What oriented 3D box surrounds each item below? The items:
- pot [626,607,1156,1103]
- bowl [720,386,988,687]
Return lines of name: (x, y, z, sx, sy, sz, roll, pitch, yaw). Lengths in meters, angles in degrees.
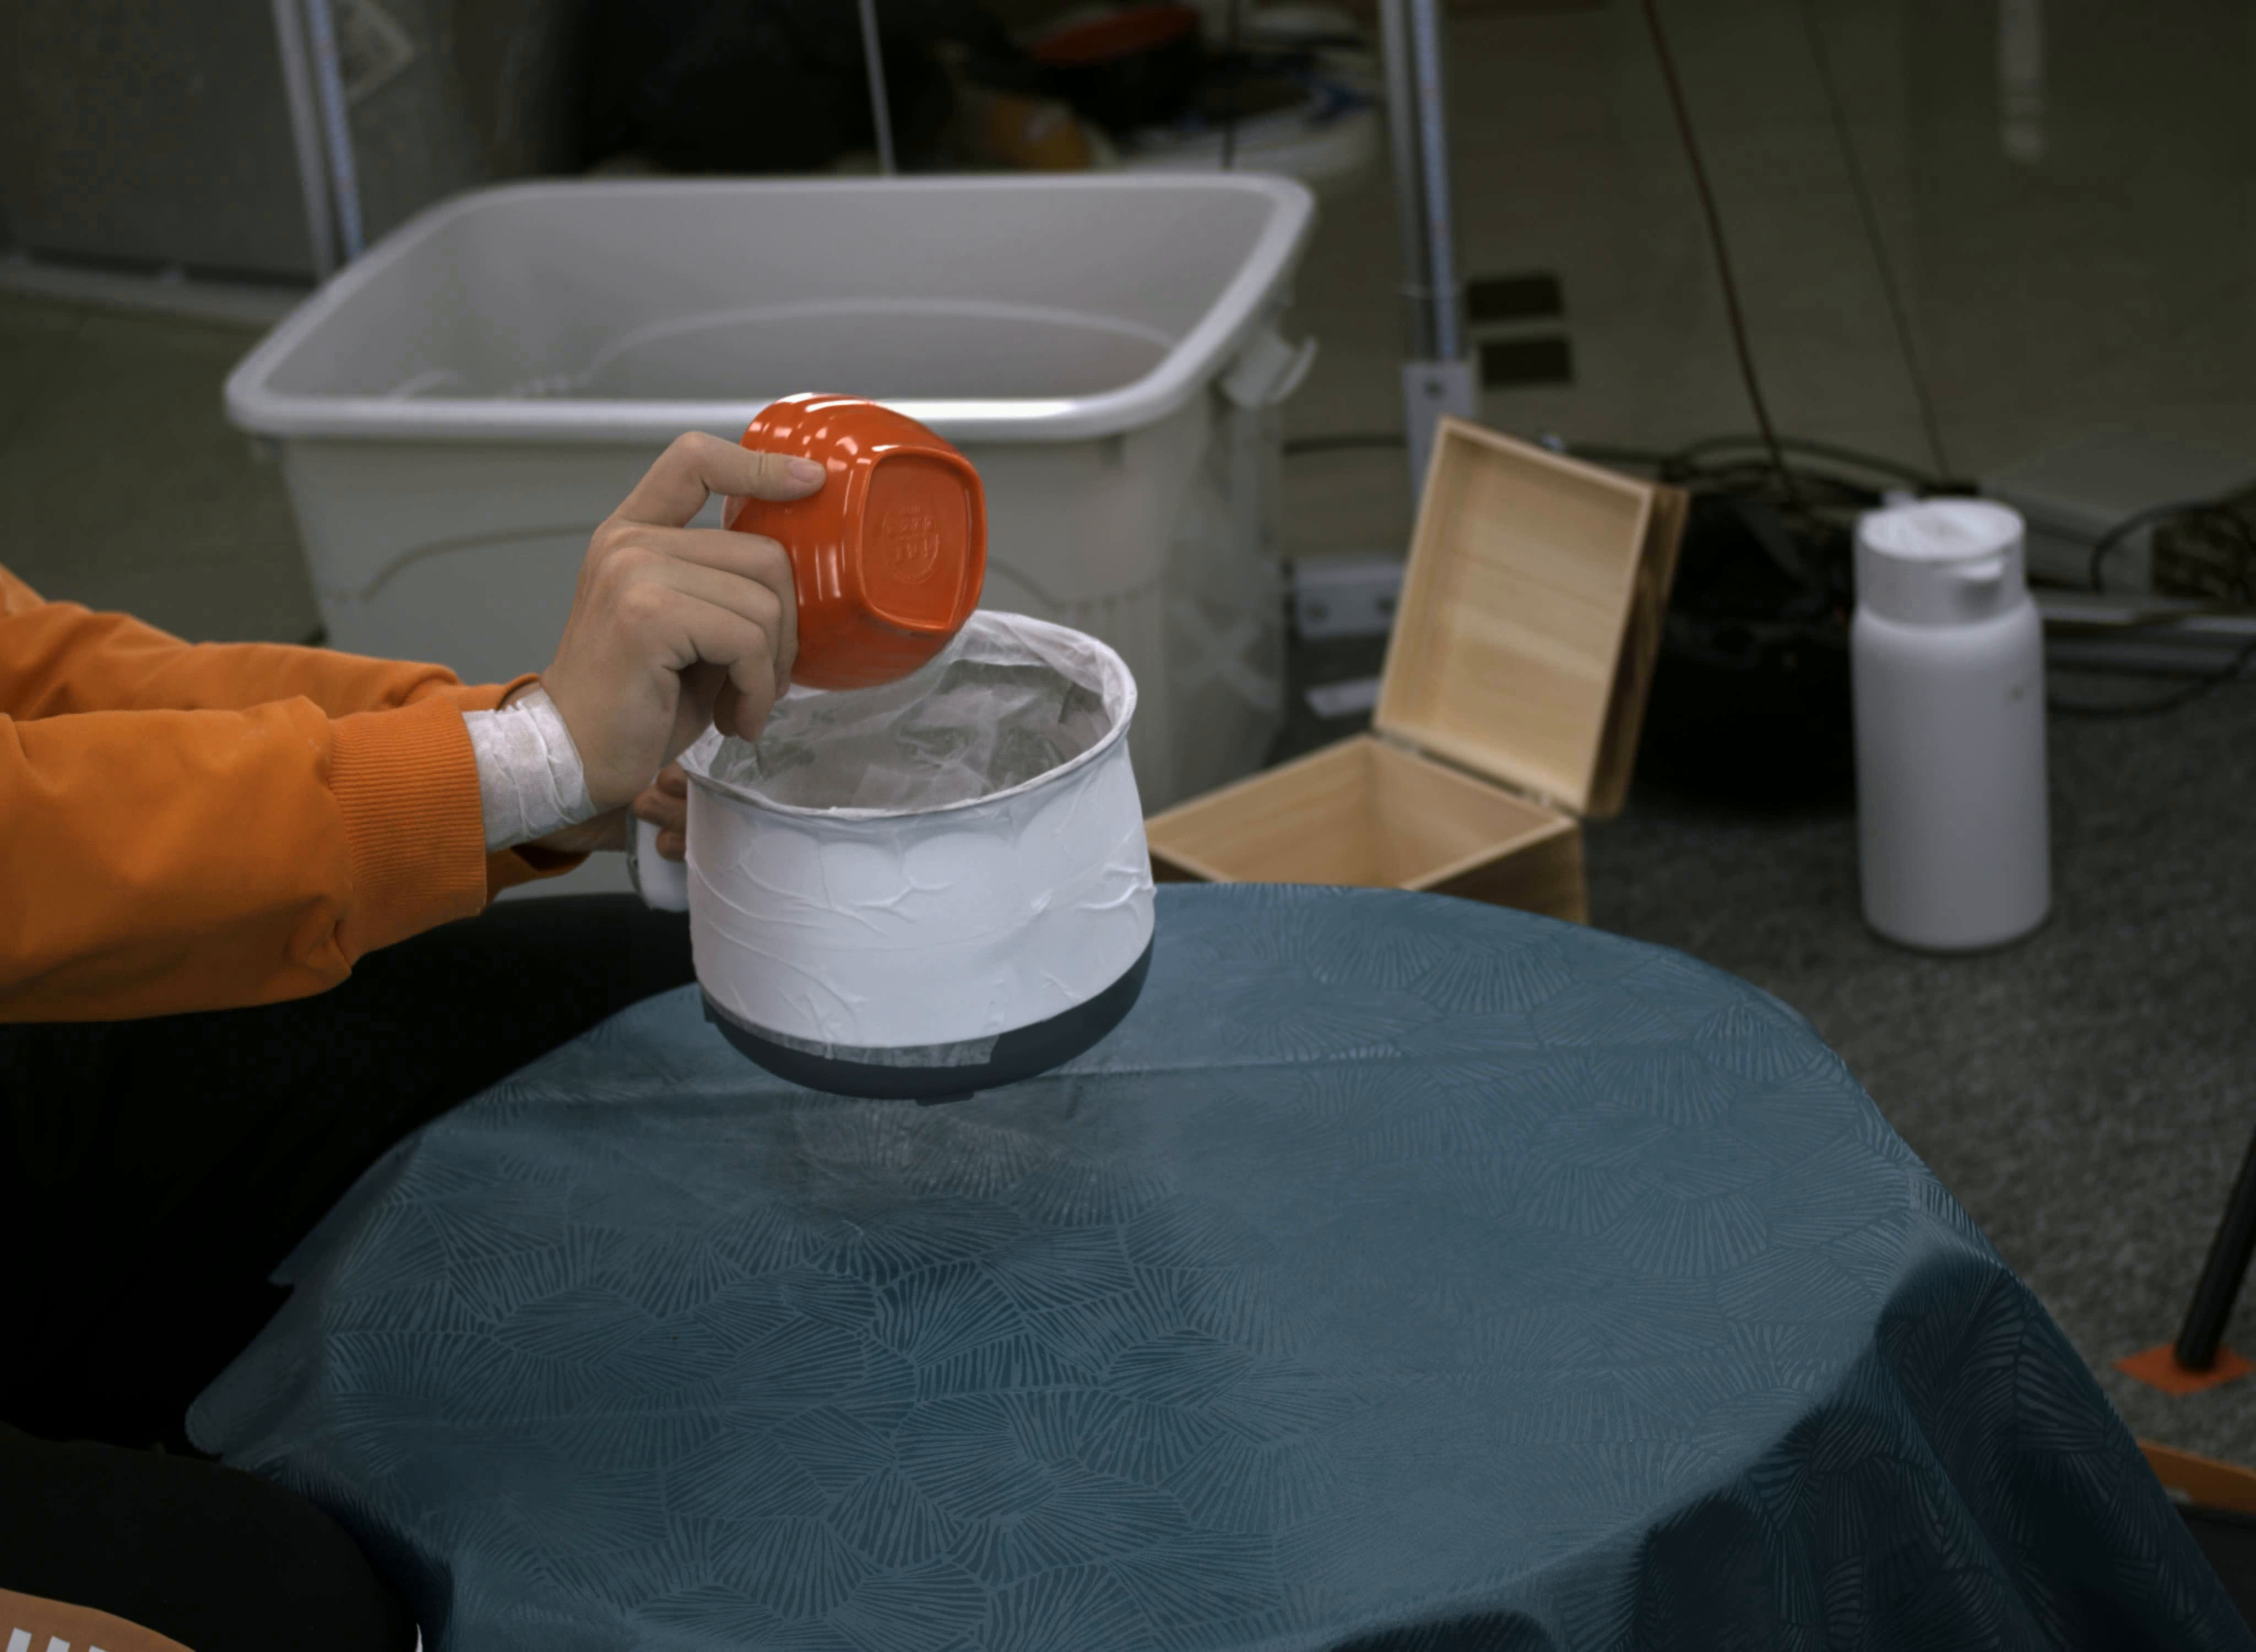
pot: (-0.101, 0.006, 2.158, 0.232, 0.139, 0.177, 16, 33, 34)
bowl: (-0.093, -0.106, 2.069, 0.051, 0.120, 0.118, 6, 26, 43)
